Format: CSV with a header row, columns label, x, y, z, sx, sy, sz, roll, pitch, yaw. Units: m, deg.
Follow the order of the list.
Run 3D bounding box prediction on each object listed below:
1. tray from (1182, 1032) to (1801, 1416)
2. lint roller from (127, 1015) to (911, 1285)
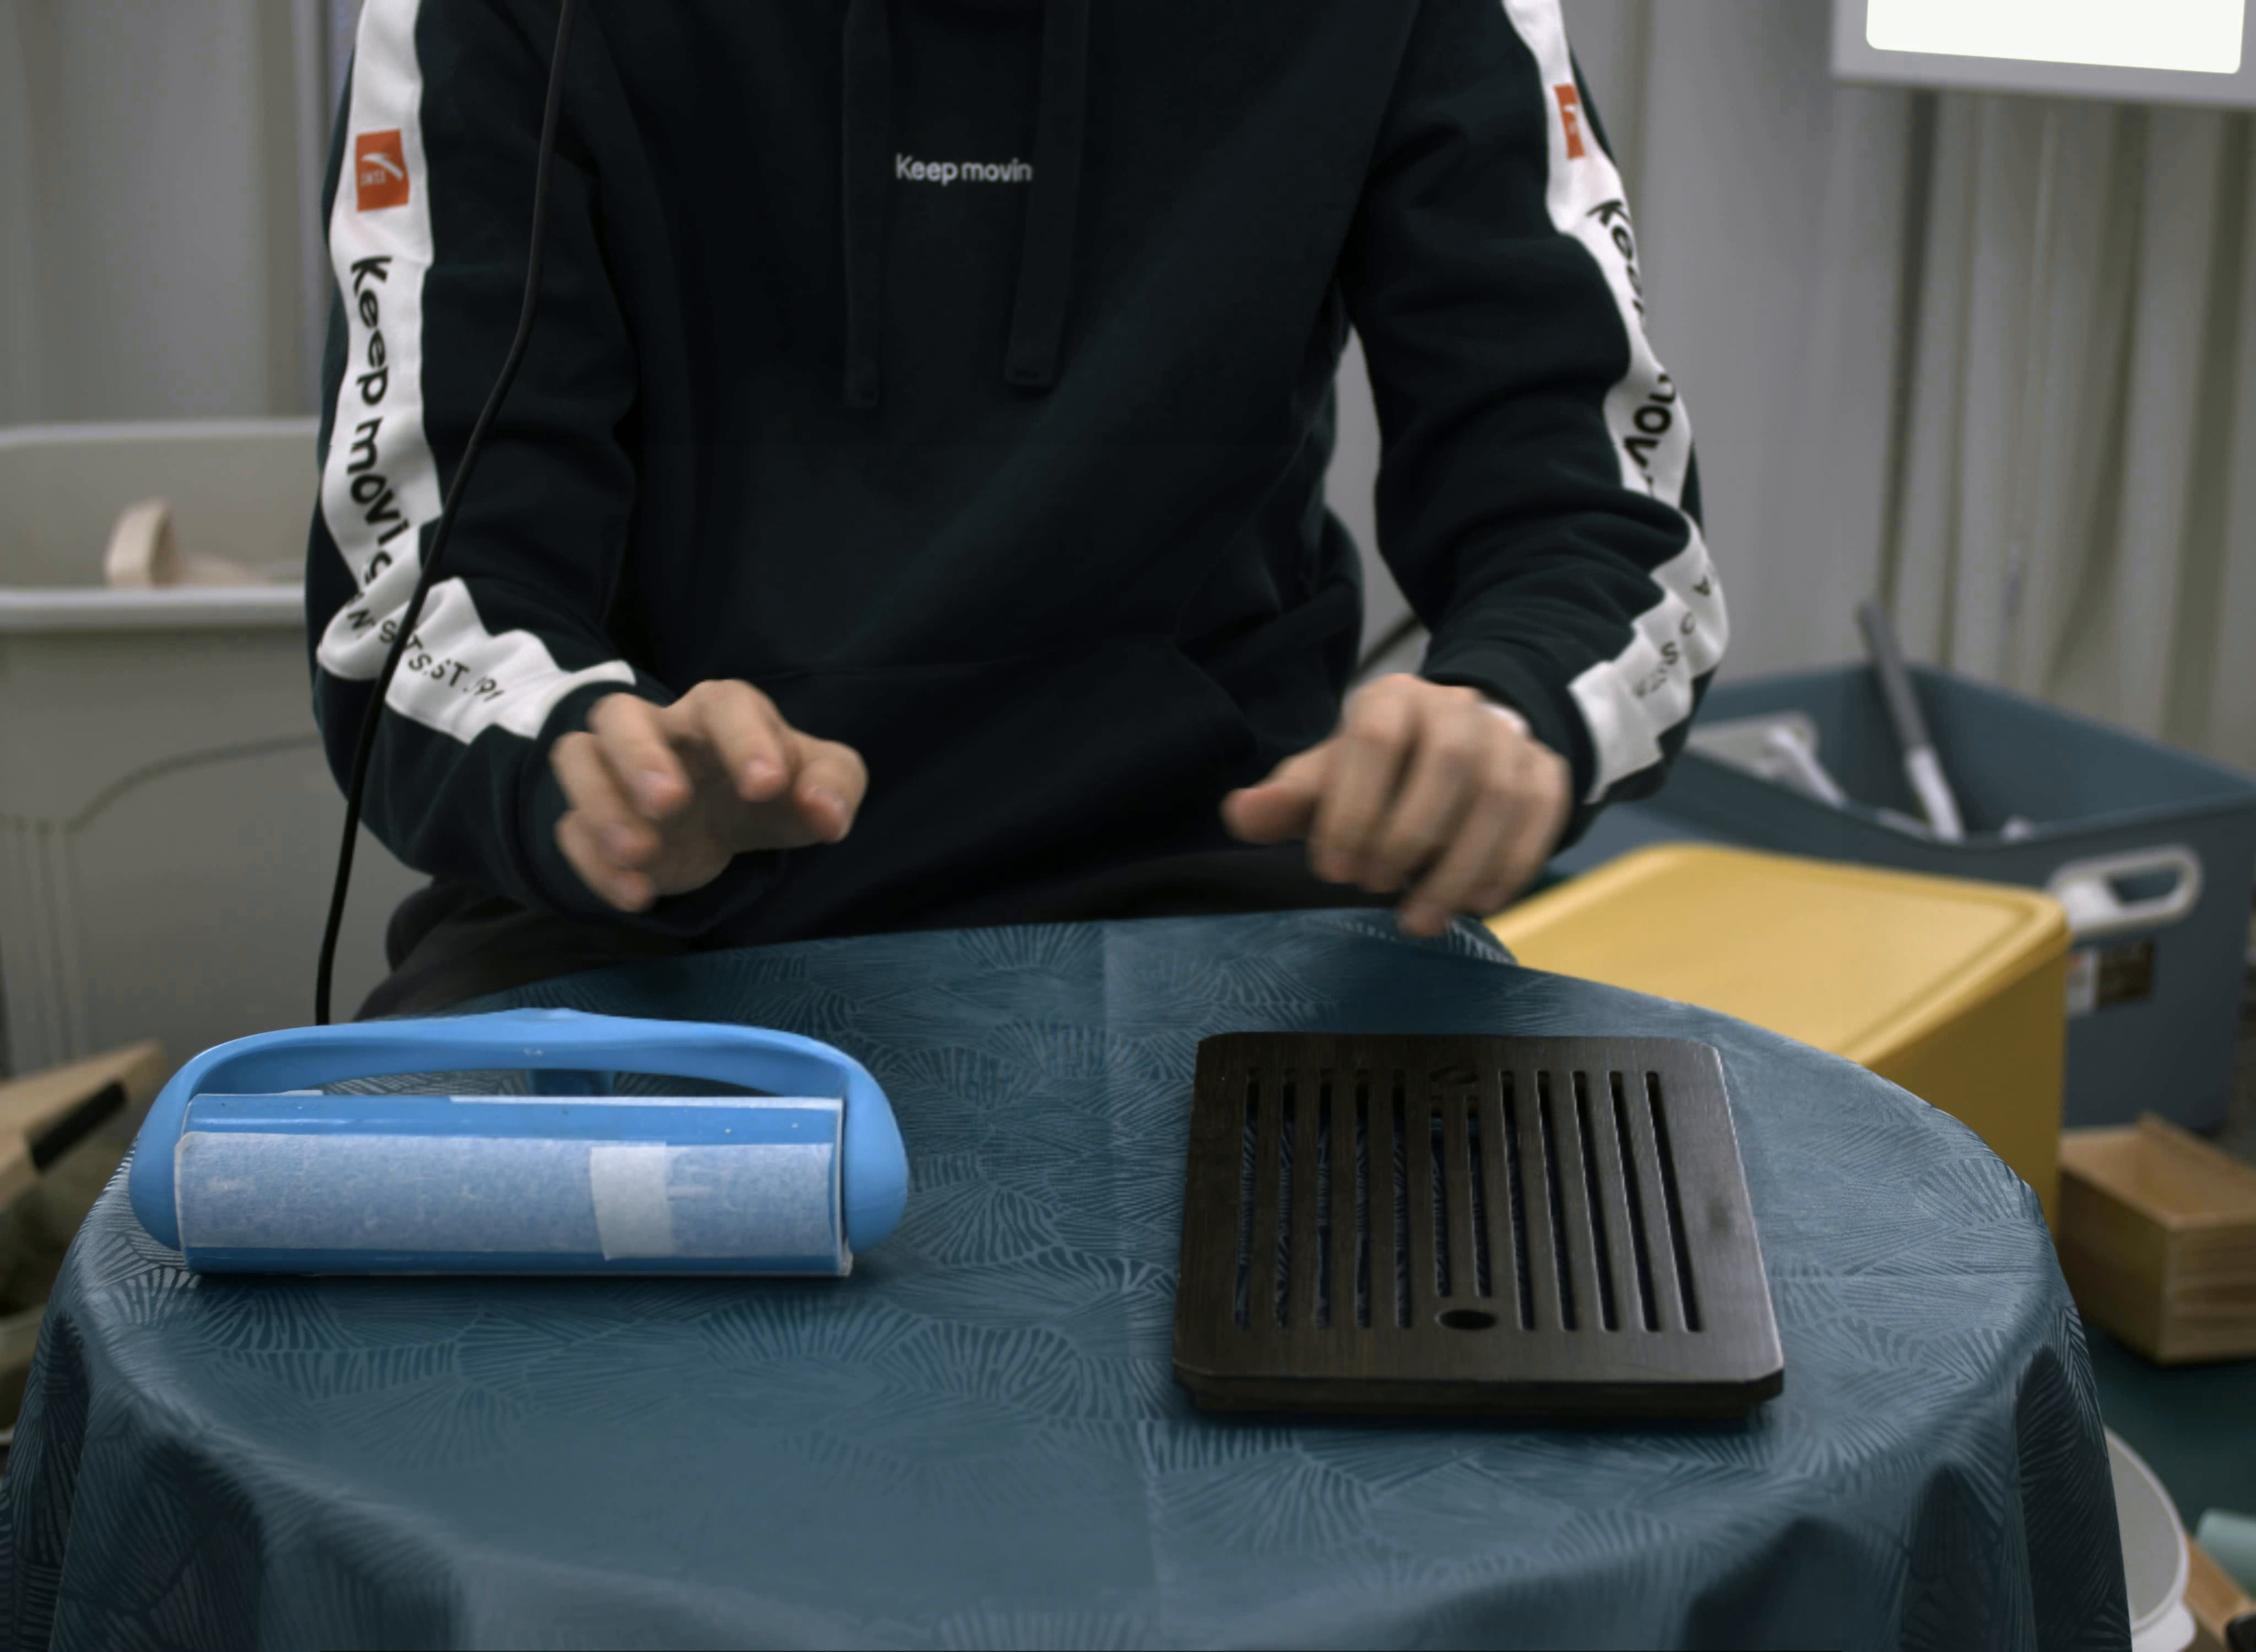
label,x,y,z,sx,sy,sz,roll,pitch,yaw
tray,0.104,0.116,1.574,0.169,0.019,0.304,1,15,2
lint roller,-0.180,0.087,1.595,0.228,0.068,0.179,-2,17,-2
